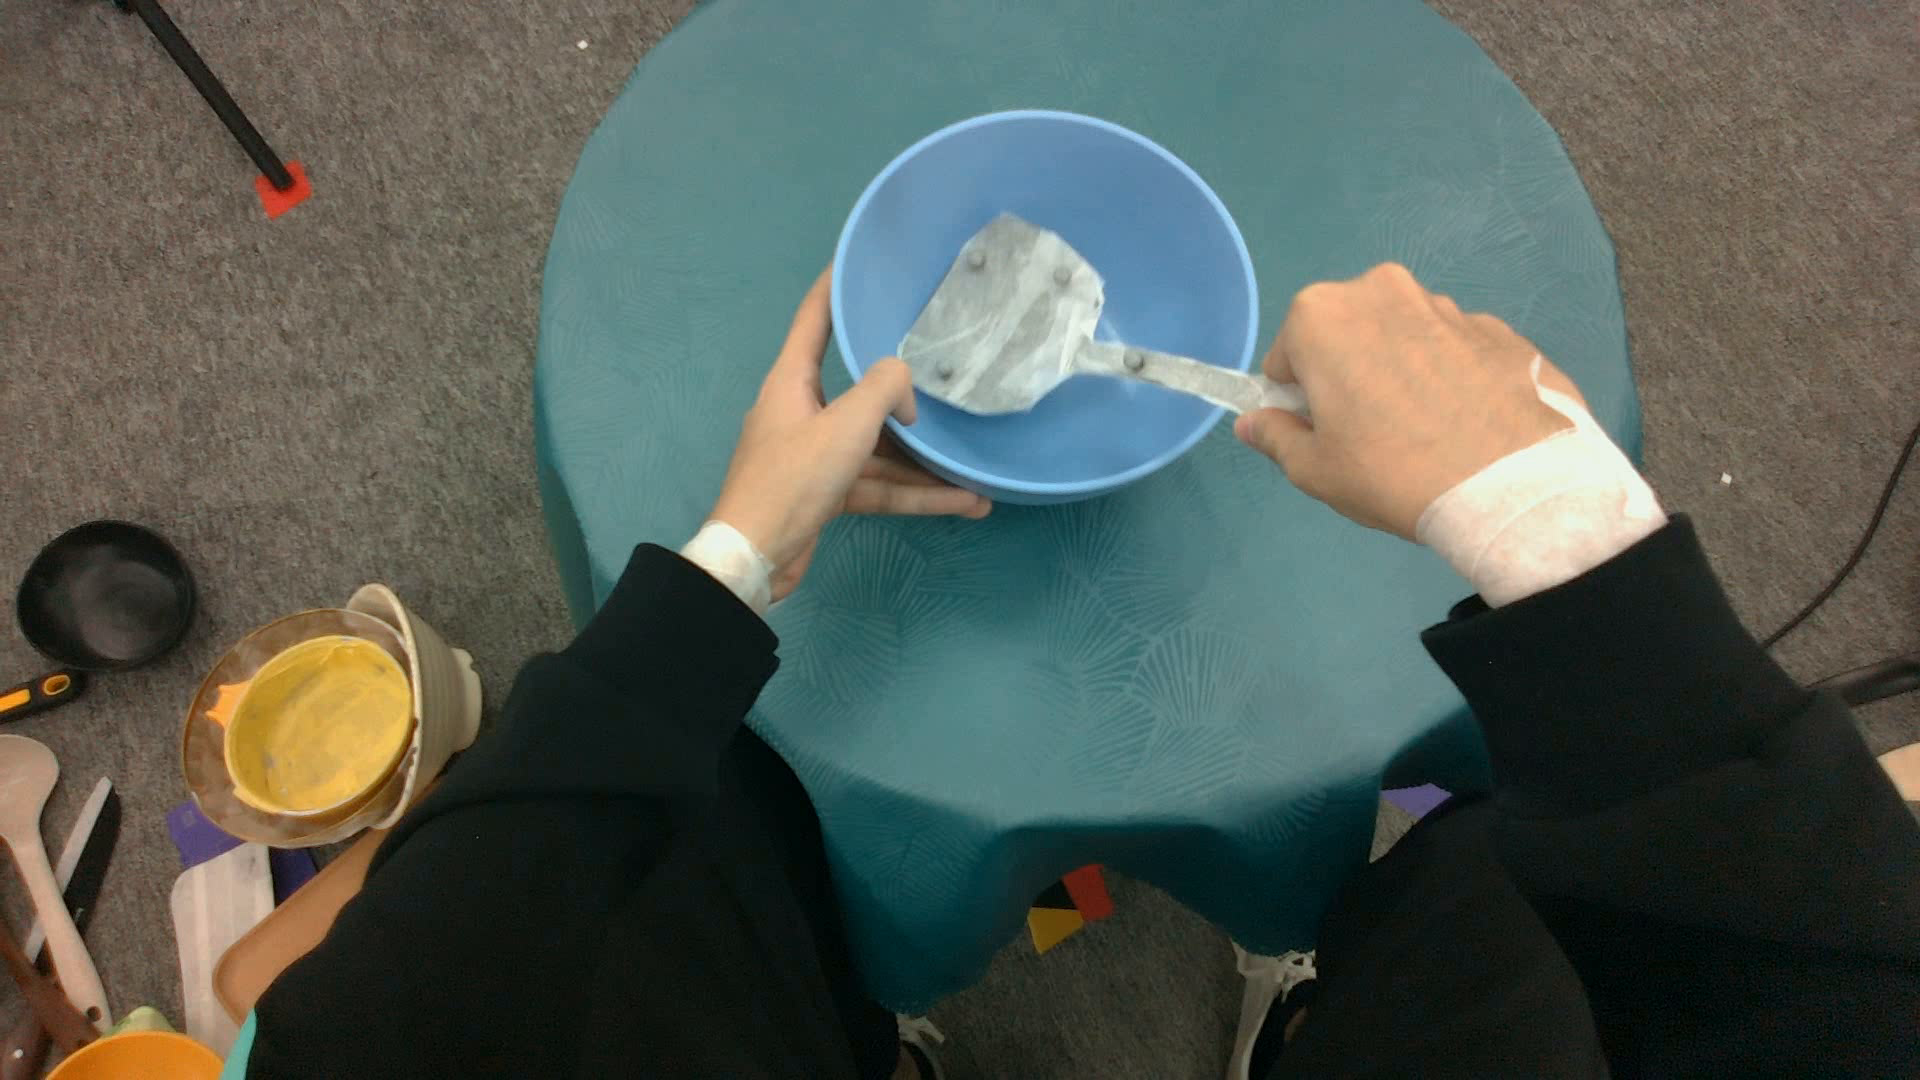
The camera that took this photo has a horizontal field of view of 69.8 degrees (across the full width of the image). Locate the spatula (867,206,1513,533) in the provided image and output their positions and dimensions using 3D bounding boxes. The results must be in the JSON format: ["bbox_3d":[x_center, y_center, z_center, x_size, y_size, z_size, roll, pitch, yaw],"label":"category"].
[{"bbox_3d":[0.074,-0.073,0.557,0.099,0.045,0.365,-53,33,-4],"label":"spatula"}]

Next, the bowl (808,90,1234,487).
[{"bbox_3d":[0.025,-0.107,0.669,0.196,0.095,0.197,2,72,-6],"label":"bowl"}]
